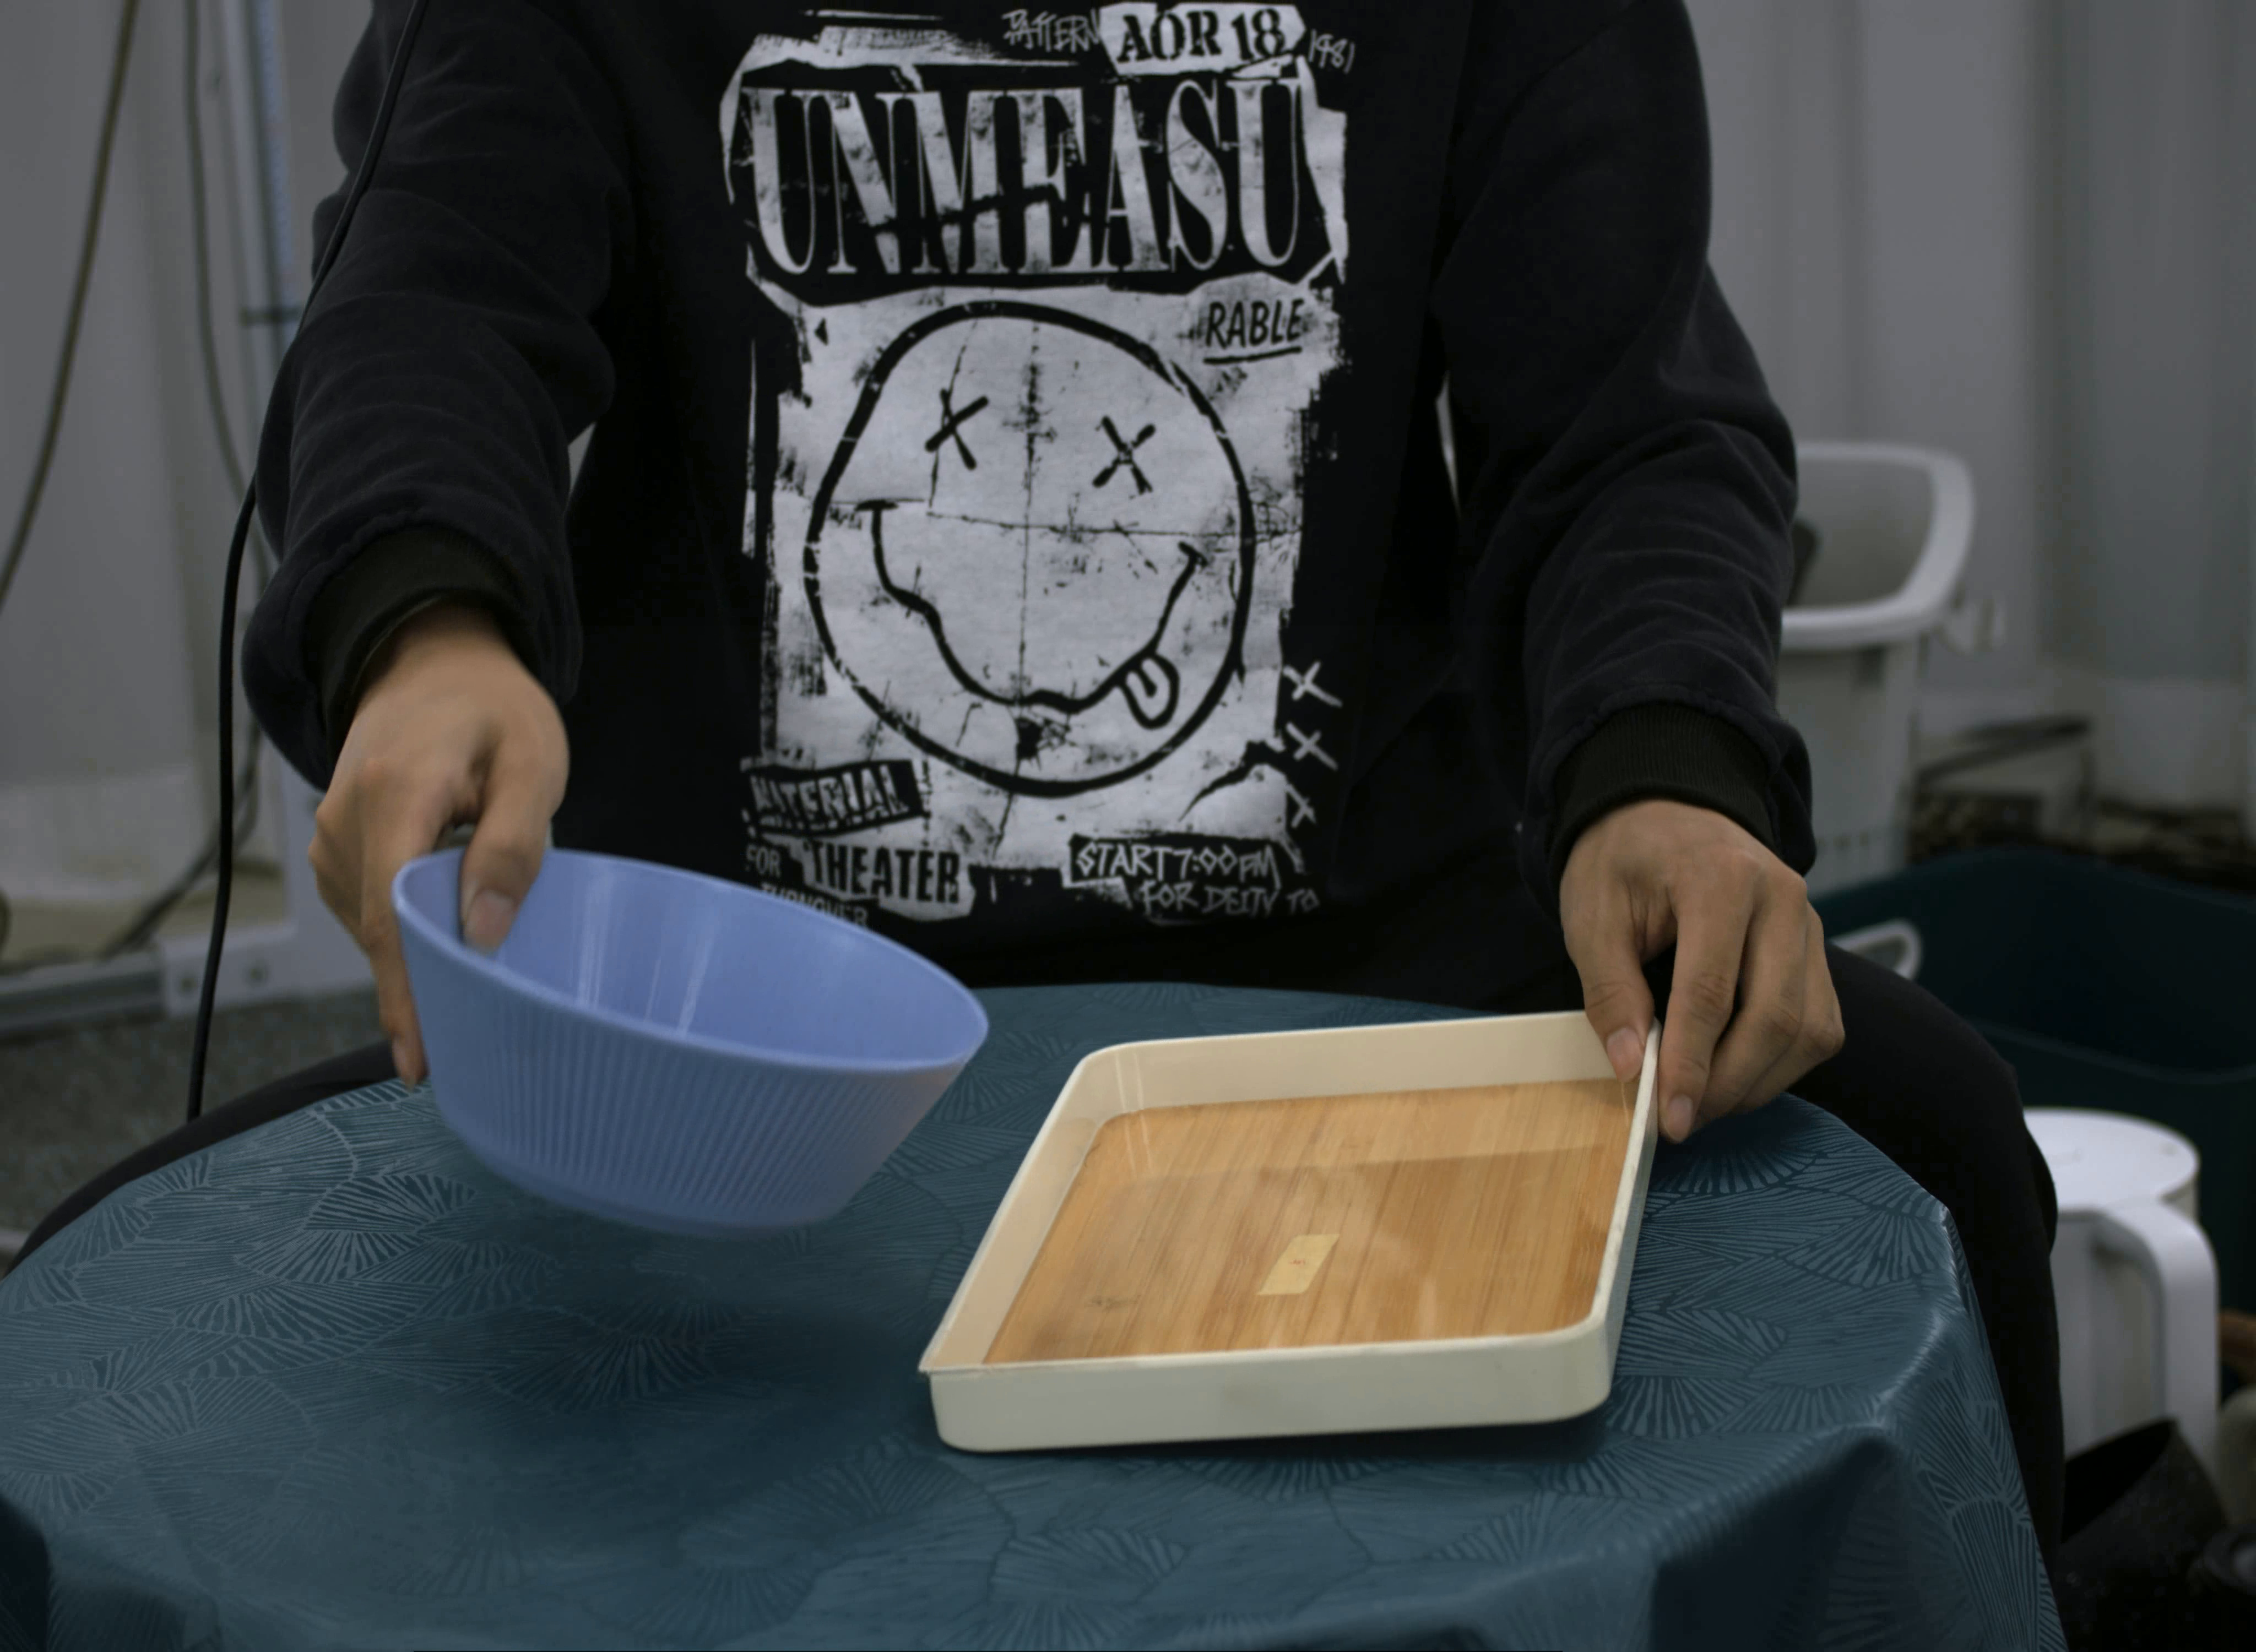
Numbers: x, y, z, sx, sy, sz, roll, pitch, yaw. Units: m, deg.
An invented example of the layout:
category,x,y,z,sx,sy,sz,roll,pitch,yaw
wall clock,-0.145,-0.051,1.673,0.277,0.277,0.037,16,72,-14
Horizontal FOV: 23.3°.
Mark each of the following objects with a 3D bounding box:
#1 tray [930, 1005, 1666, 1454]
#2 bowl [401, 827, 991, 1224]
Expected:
category,x,y,z,sx,sy,sz,roll,pitch,yaw
tray,0.058,0.116,1.623,0.191,0.027,0.302,-5,15,10
bowl,-0.132,0.061,1.572,0.175,0.070,0.177,17,12,-4
